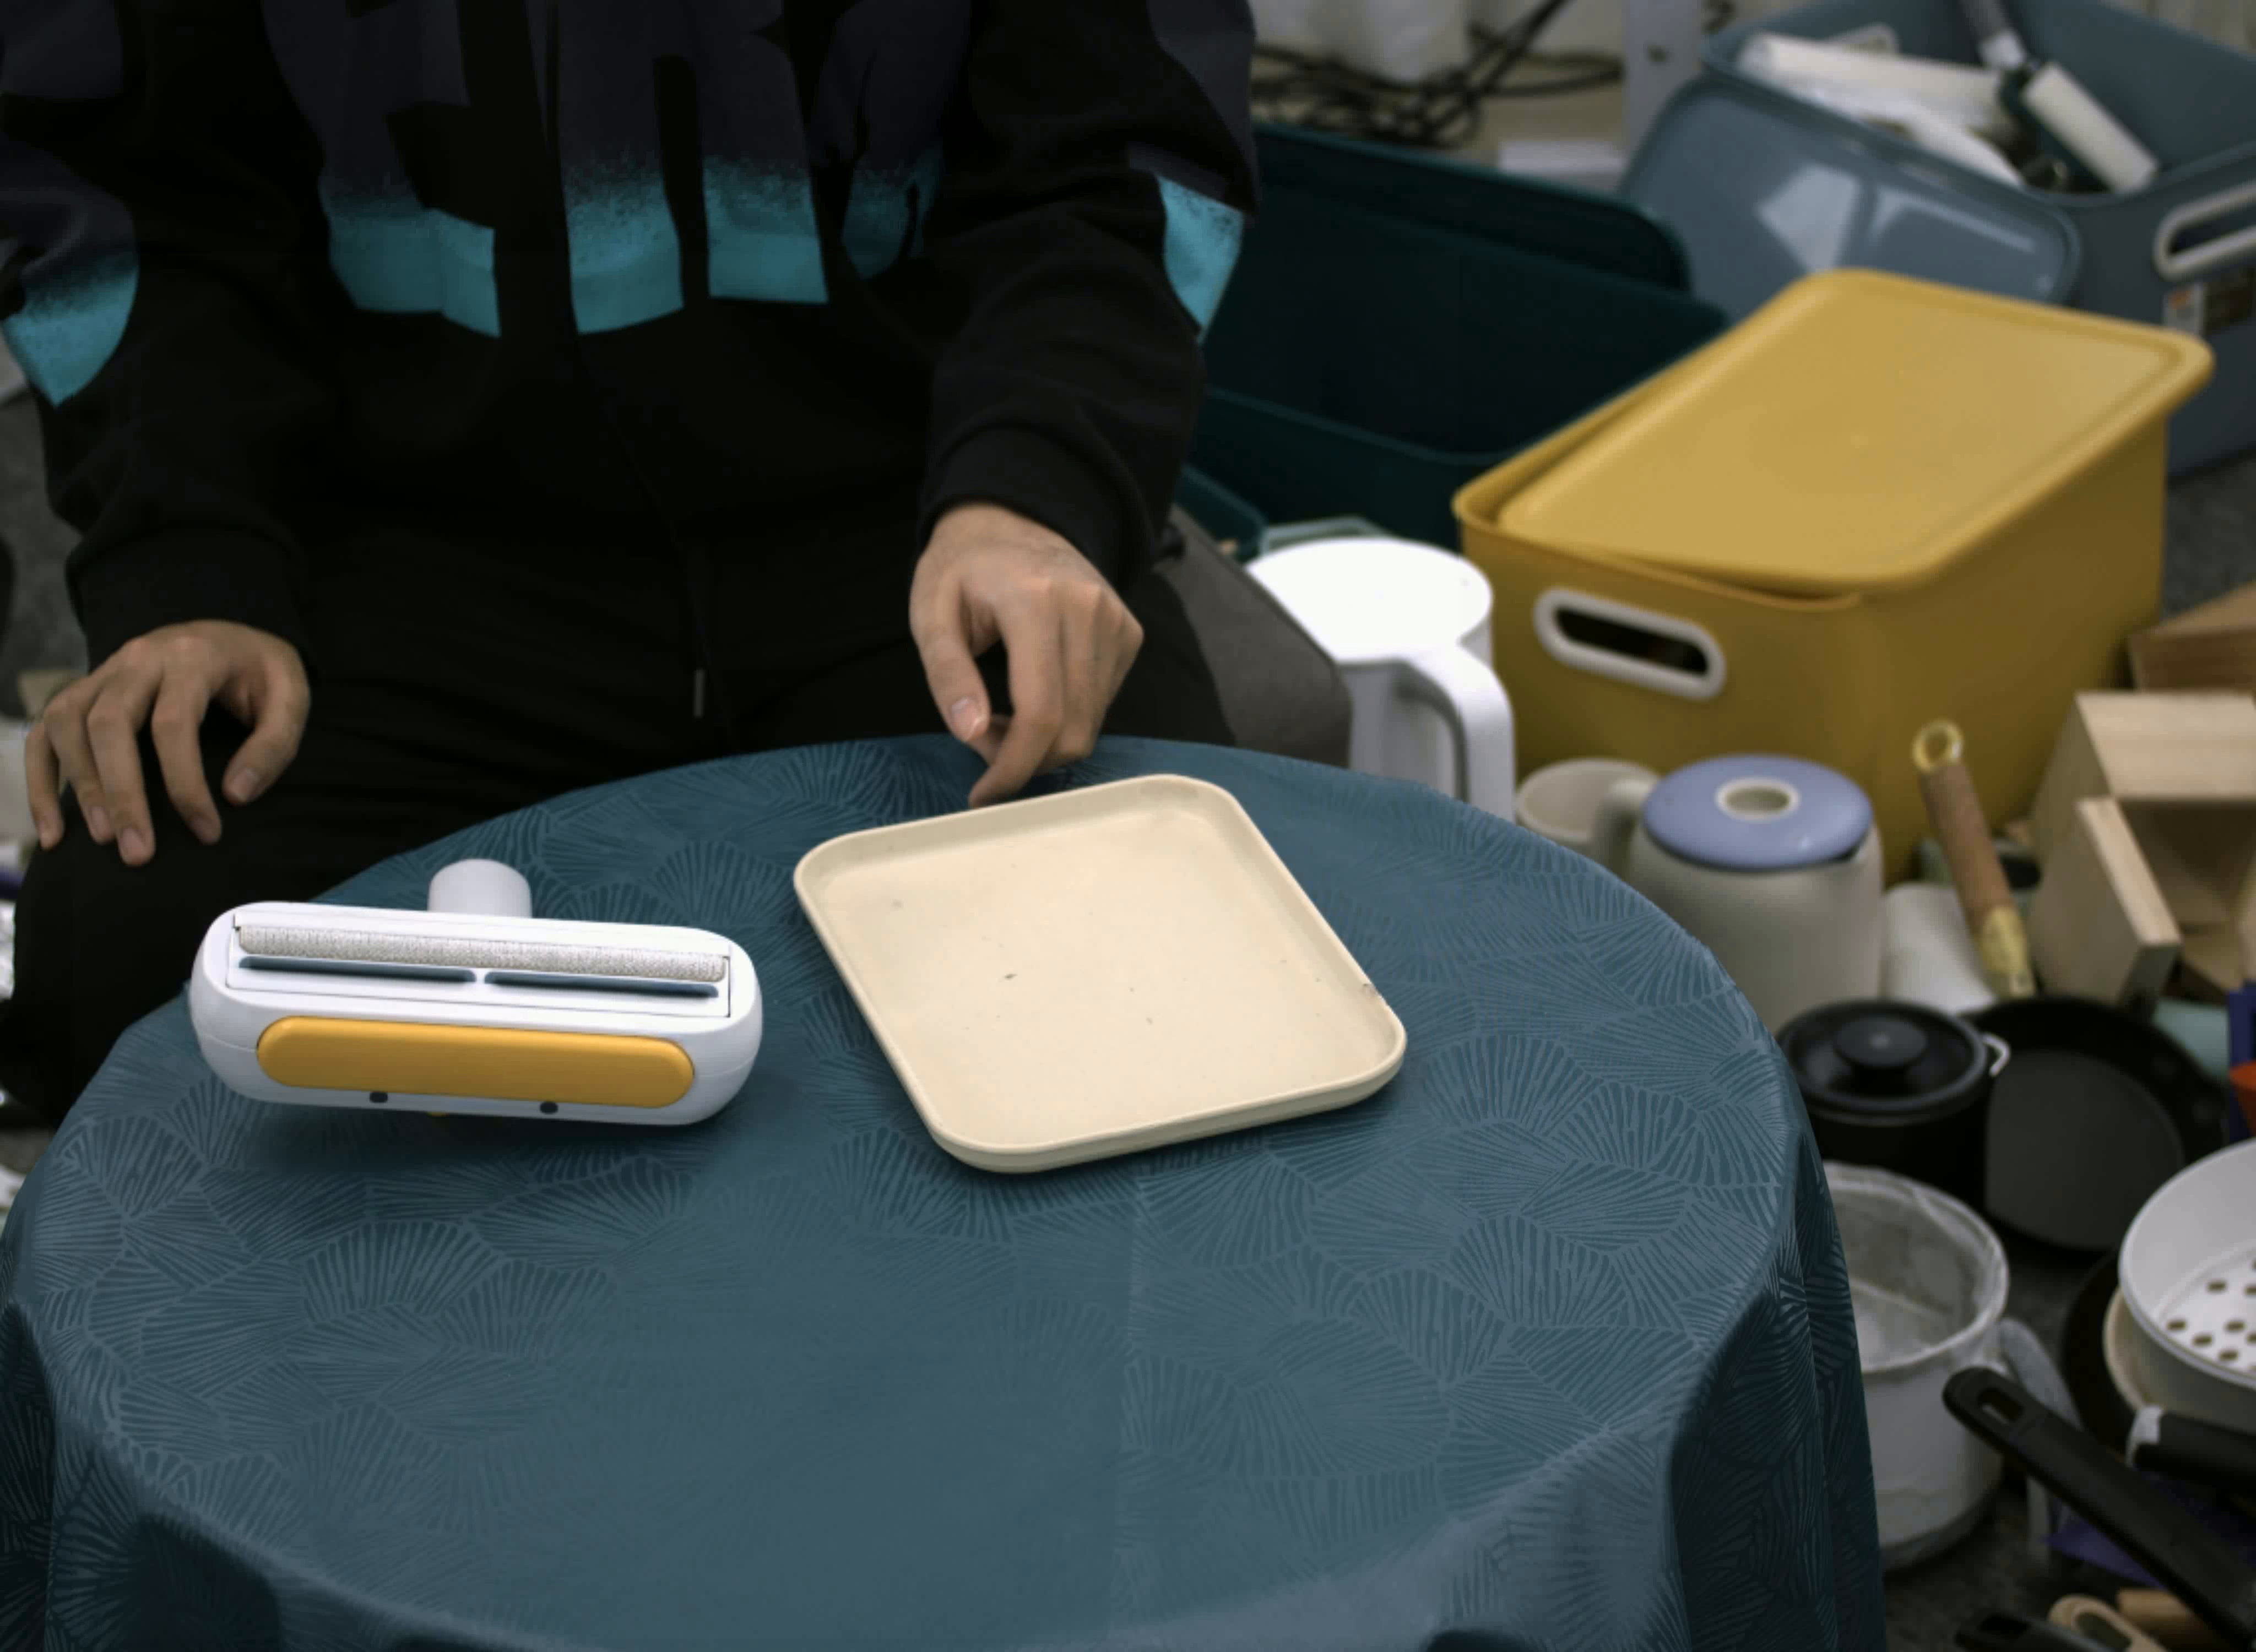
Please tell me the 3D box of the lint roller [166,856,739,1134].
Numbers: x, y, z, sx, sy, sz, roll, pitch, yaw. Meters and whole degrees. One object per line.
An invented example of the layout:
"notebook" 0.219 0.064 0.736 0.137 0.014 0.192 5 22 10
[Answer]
"lint roller" -0.229 0.045 1.958 0.192 0.073 0.195 2 26 -3

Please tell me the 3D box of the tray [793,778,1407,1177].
"tray" -0.013 0.052 1.977 0.171 0.017 0.242 -11 29 -14
